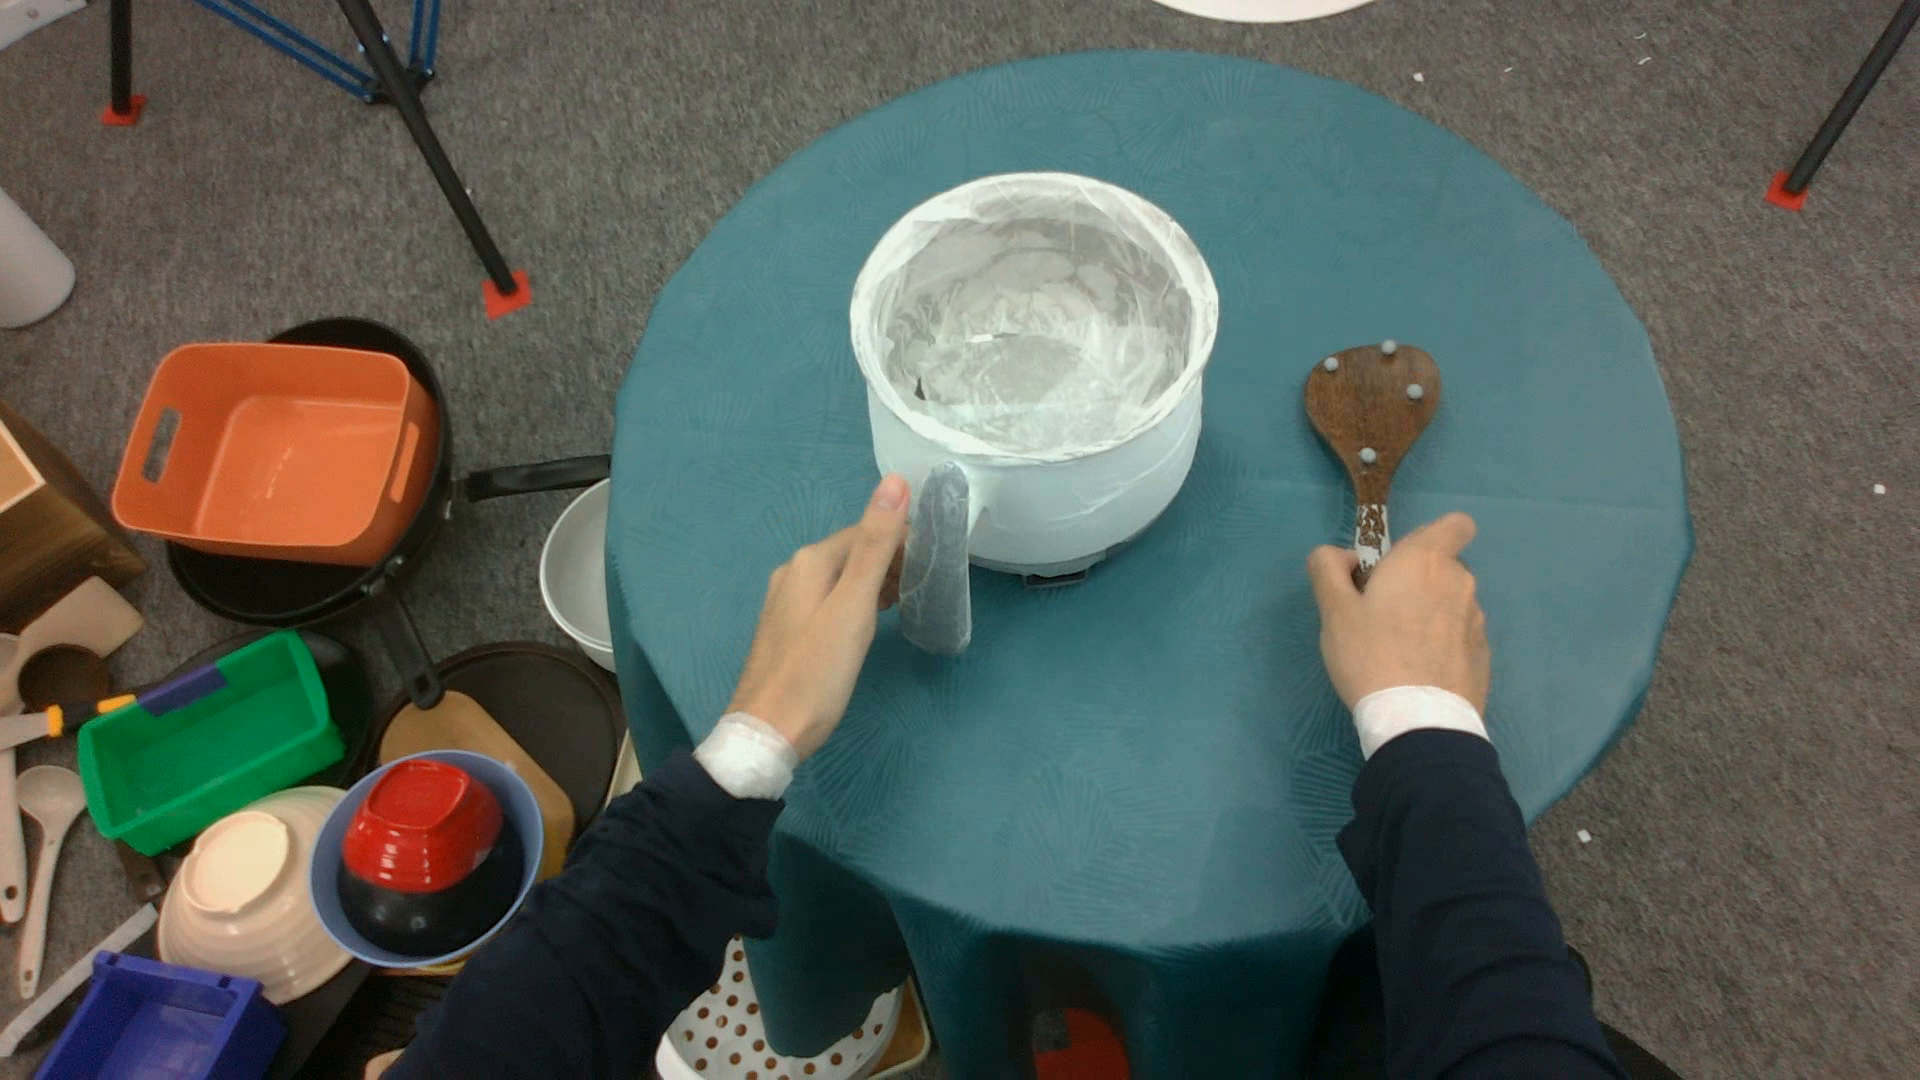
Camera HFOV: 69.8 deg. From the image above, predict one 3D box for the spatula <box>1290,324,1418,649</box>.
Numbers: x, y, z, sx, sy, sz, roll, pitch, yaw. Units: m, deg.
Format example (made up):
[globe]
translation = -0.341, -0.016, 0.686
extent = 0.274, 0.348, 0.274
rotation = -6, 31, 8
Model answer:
[spatula]
translation = 0.211, -0.035, 0.731
extent = 0.071, 0.009, 0.217
rotation = -10, 52, 26

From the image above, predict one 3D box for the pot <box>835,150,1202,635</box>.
[pot]
translation = 0.022, -0.070, 0.704
extent = 0.178, 0.136, 0.235
rotation = 17, 62, 14
